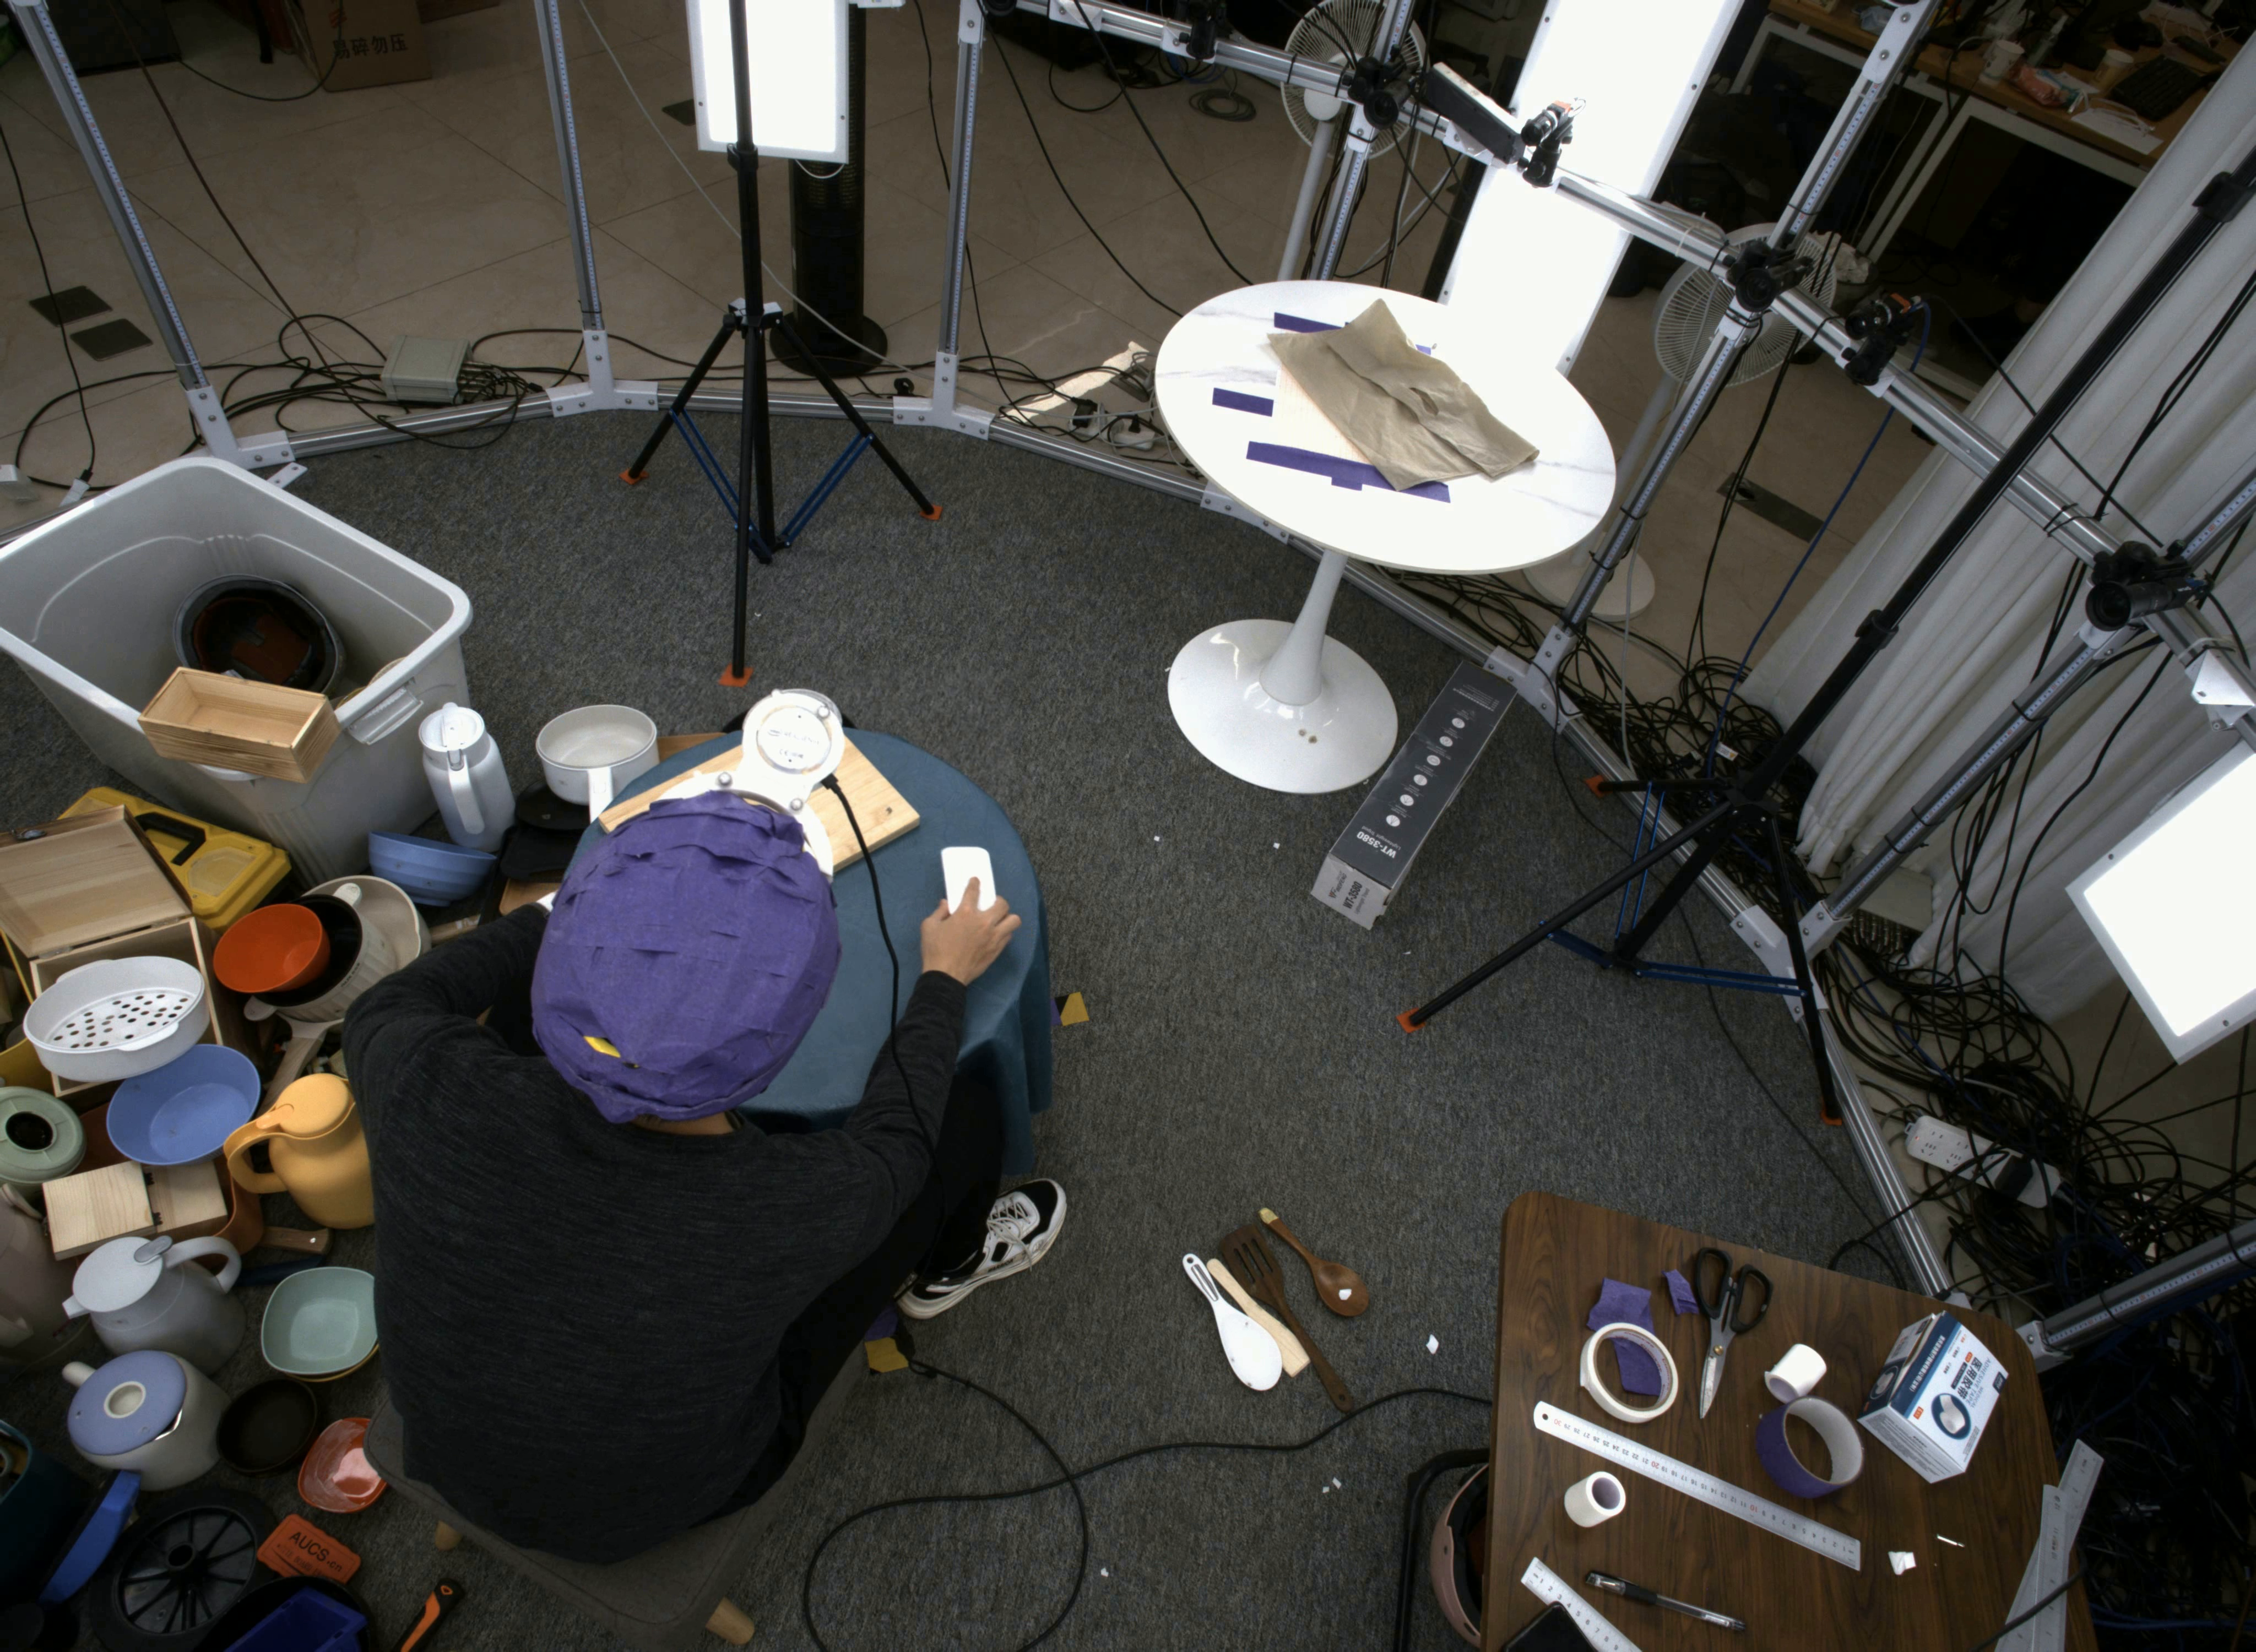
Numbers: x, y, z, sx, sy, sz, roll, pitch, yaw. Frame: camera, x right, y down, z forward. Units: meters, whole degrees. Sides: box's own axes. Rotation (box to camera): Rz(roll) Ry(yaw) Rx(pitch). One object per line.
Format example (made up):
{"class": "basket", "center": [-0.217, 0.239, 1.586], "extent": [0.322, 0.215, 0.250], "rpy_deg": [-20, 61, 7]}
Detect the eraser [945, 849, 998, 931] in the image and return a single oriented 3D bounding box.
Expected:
{"class": "eraser", "center": [-0.204, 0.078, 1.682], "extent": [0.063, 0.035, 0.128], "rpy_deg": [2, 42, -15]}

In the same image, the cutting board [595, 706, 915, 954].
{"class": "cutting board", "center": [-0.486, -0.006, 1.697], "extent": [0.349, 0.024, 0.245], "rpy_deg": [-34, 68, -32]}
